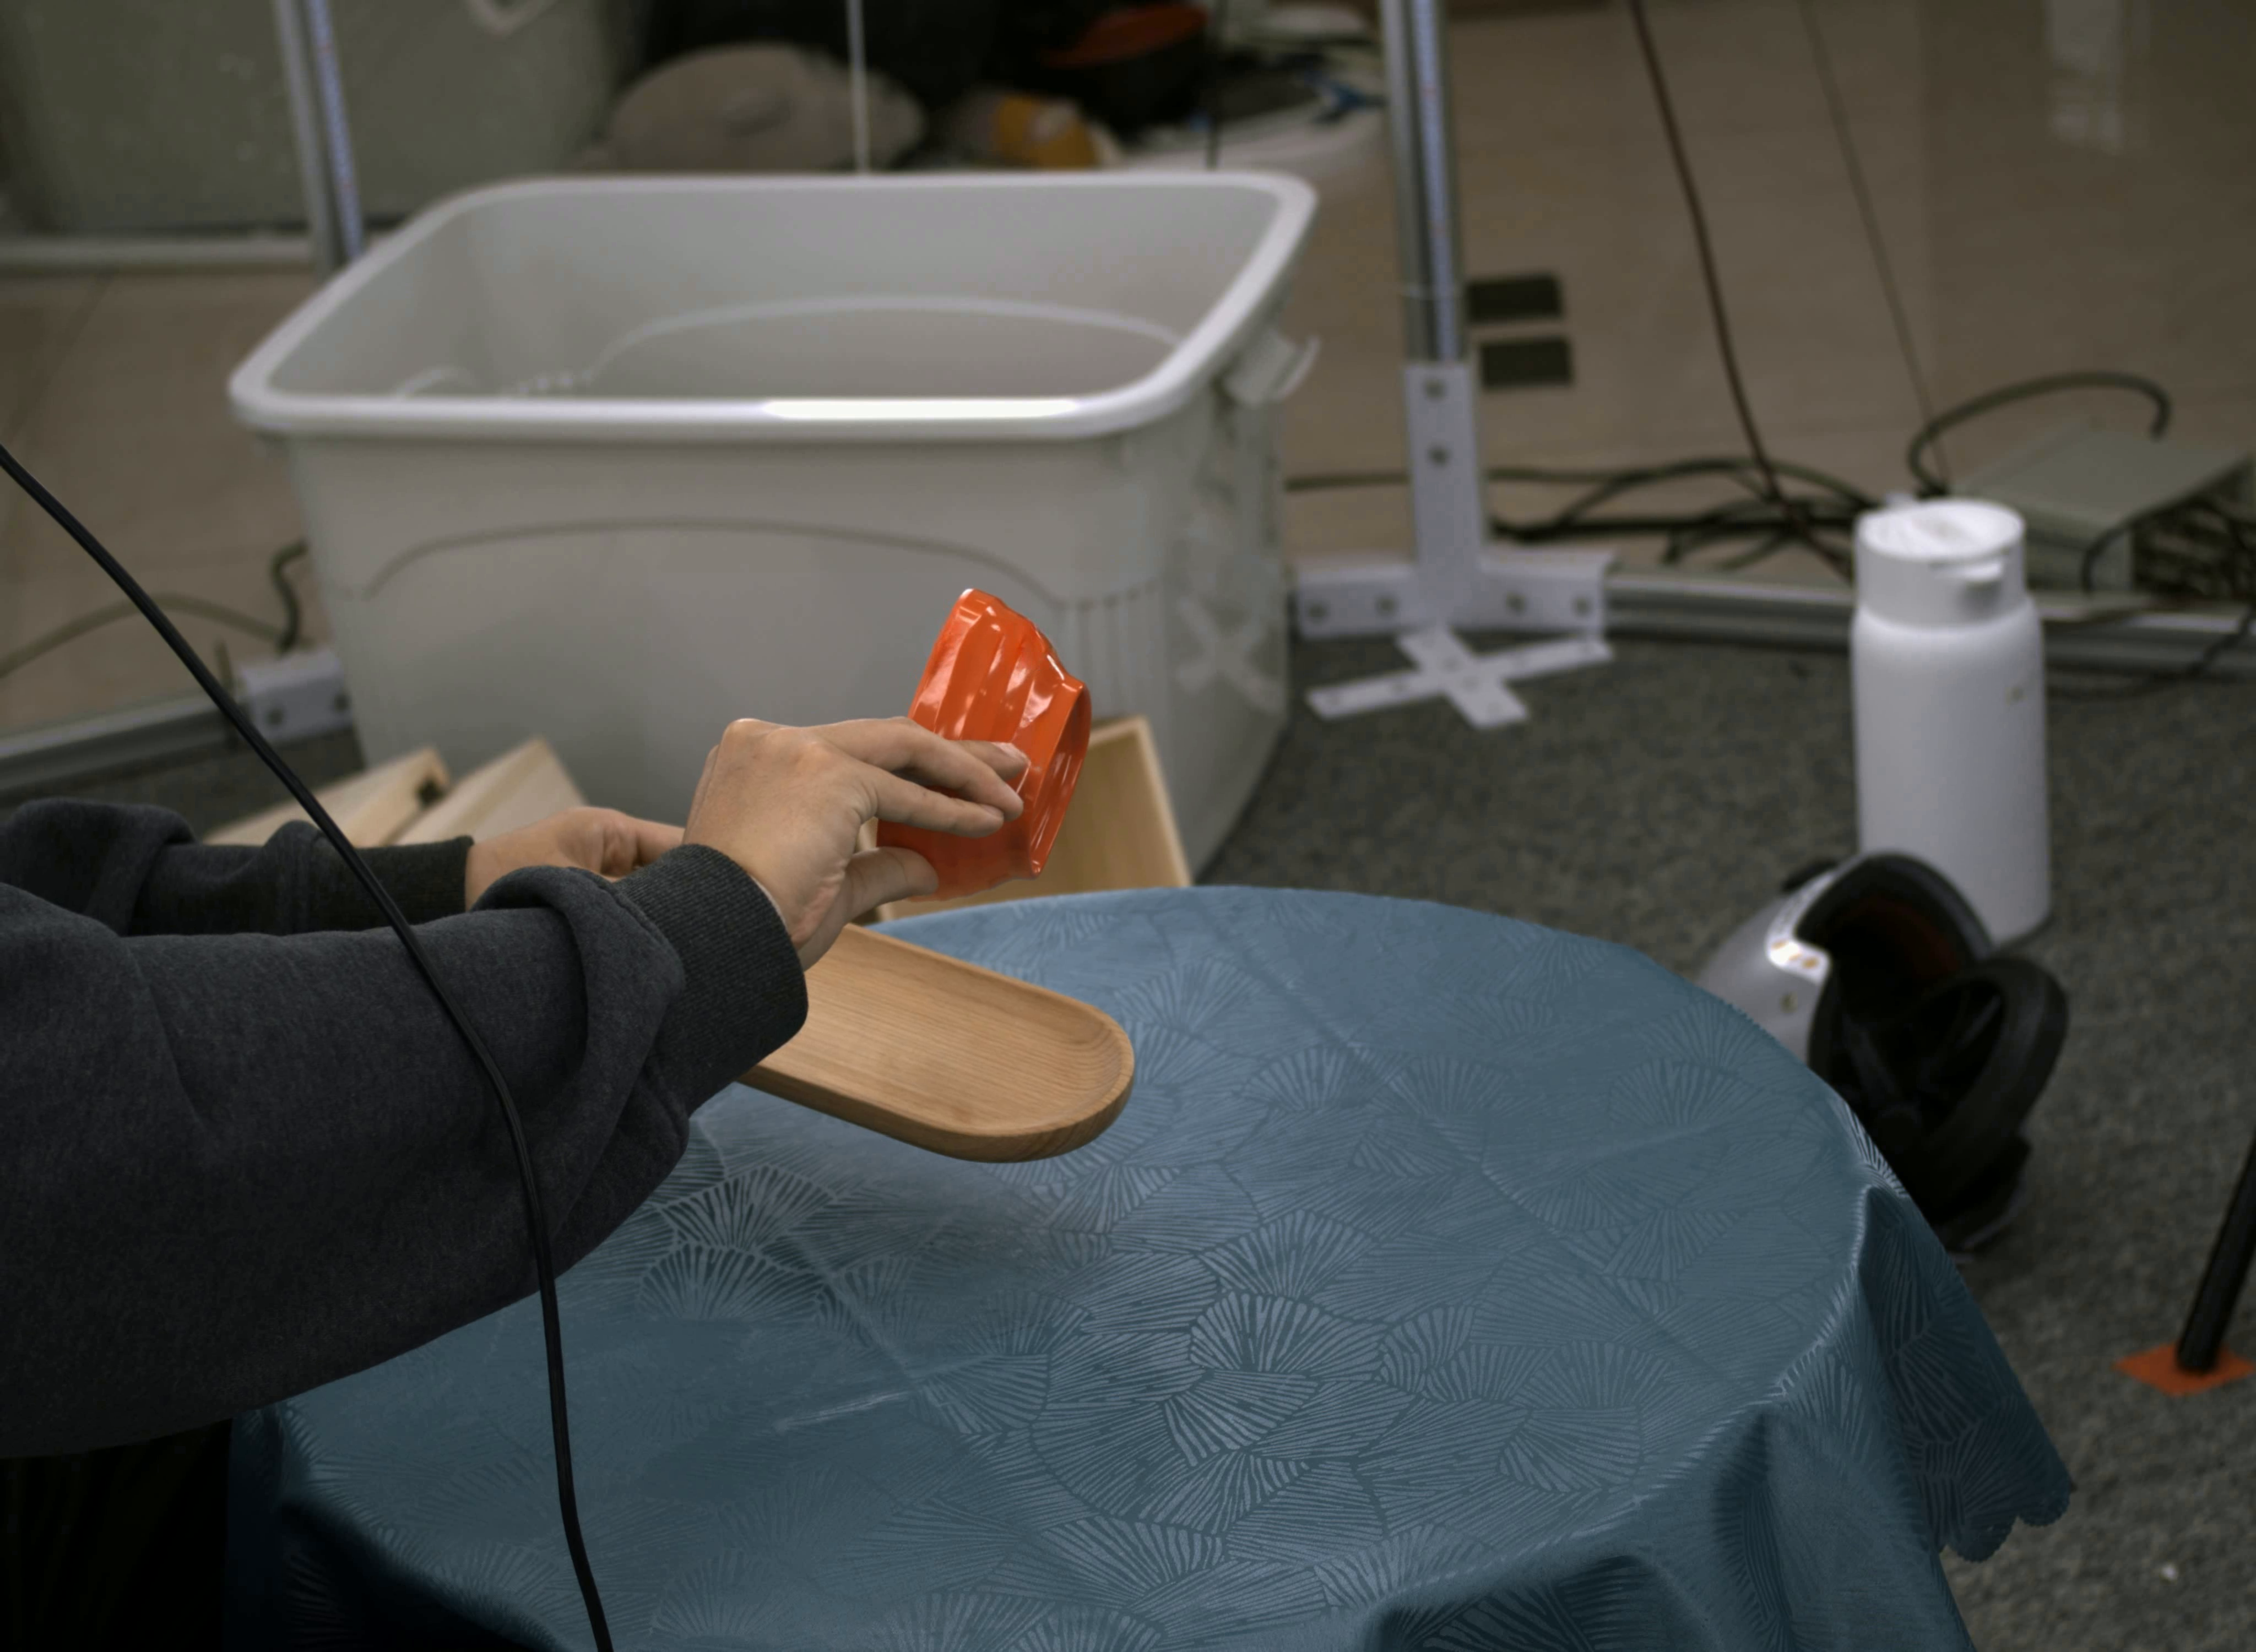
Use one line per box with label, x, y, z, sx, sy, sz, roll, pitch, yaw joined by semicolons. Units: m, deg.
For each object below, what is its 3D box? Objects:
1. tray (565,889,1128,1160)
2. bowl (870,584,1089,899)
tray;-0.106;0.073;2.118;0.230;0.021;0.100;16;34;26
bowl;-0.049;-0.023;2.009;0.051;0.121;0.117;19;30;7
